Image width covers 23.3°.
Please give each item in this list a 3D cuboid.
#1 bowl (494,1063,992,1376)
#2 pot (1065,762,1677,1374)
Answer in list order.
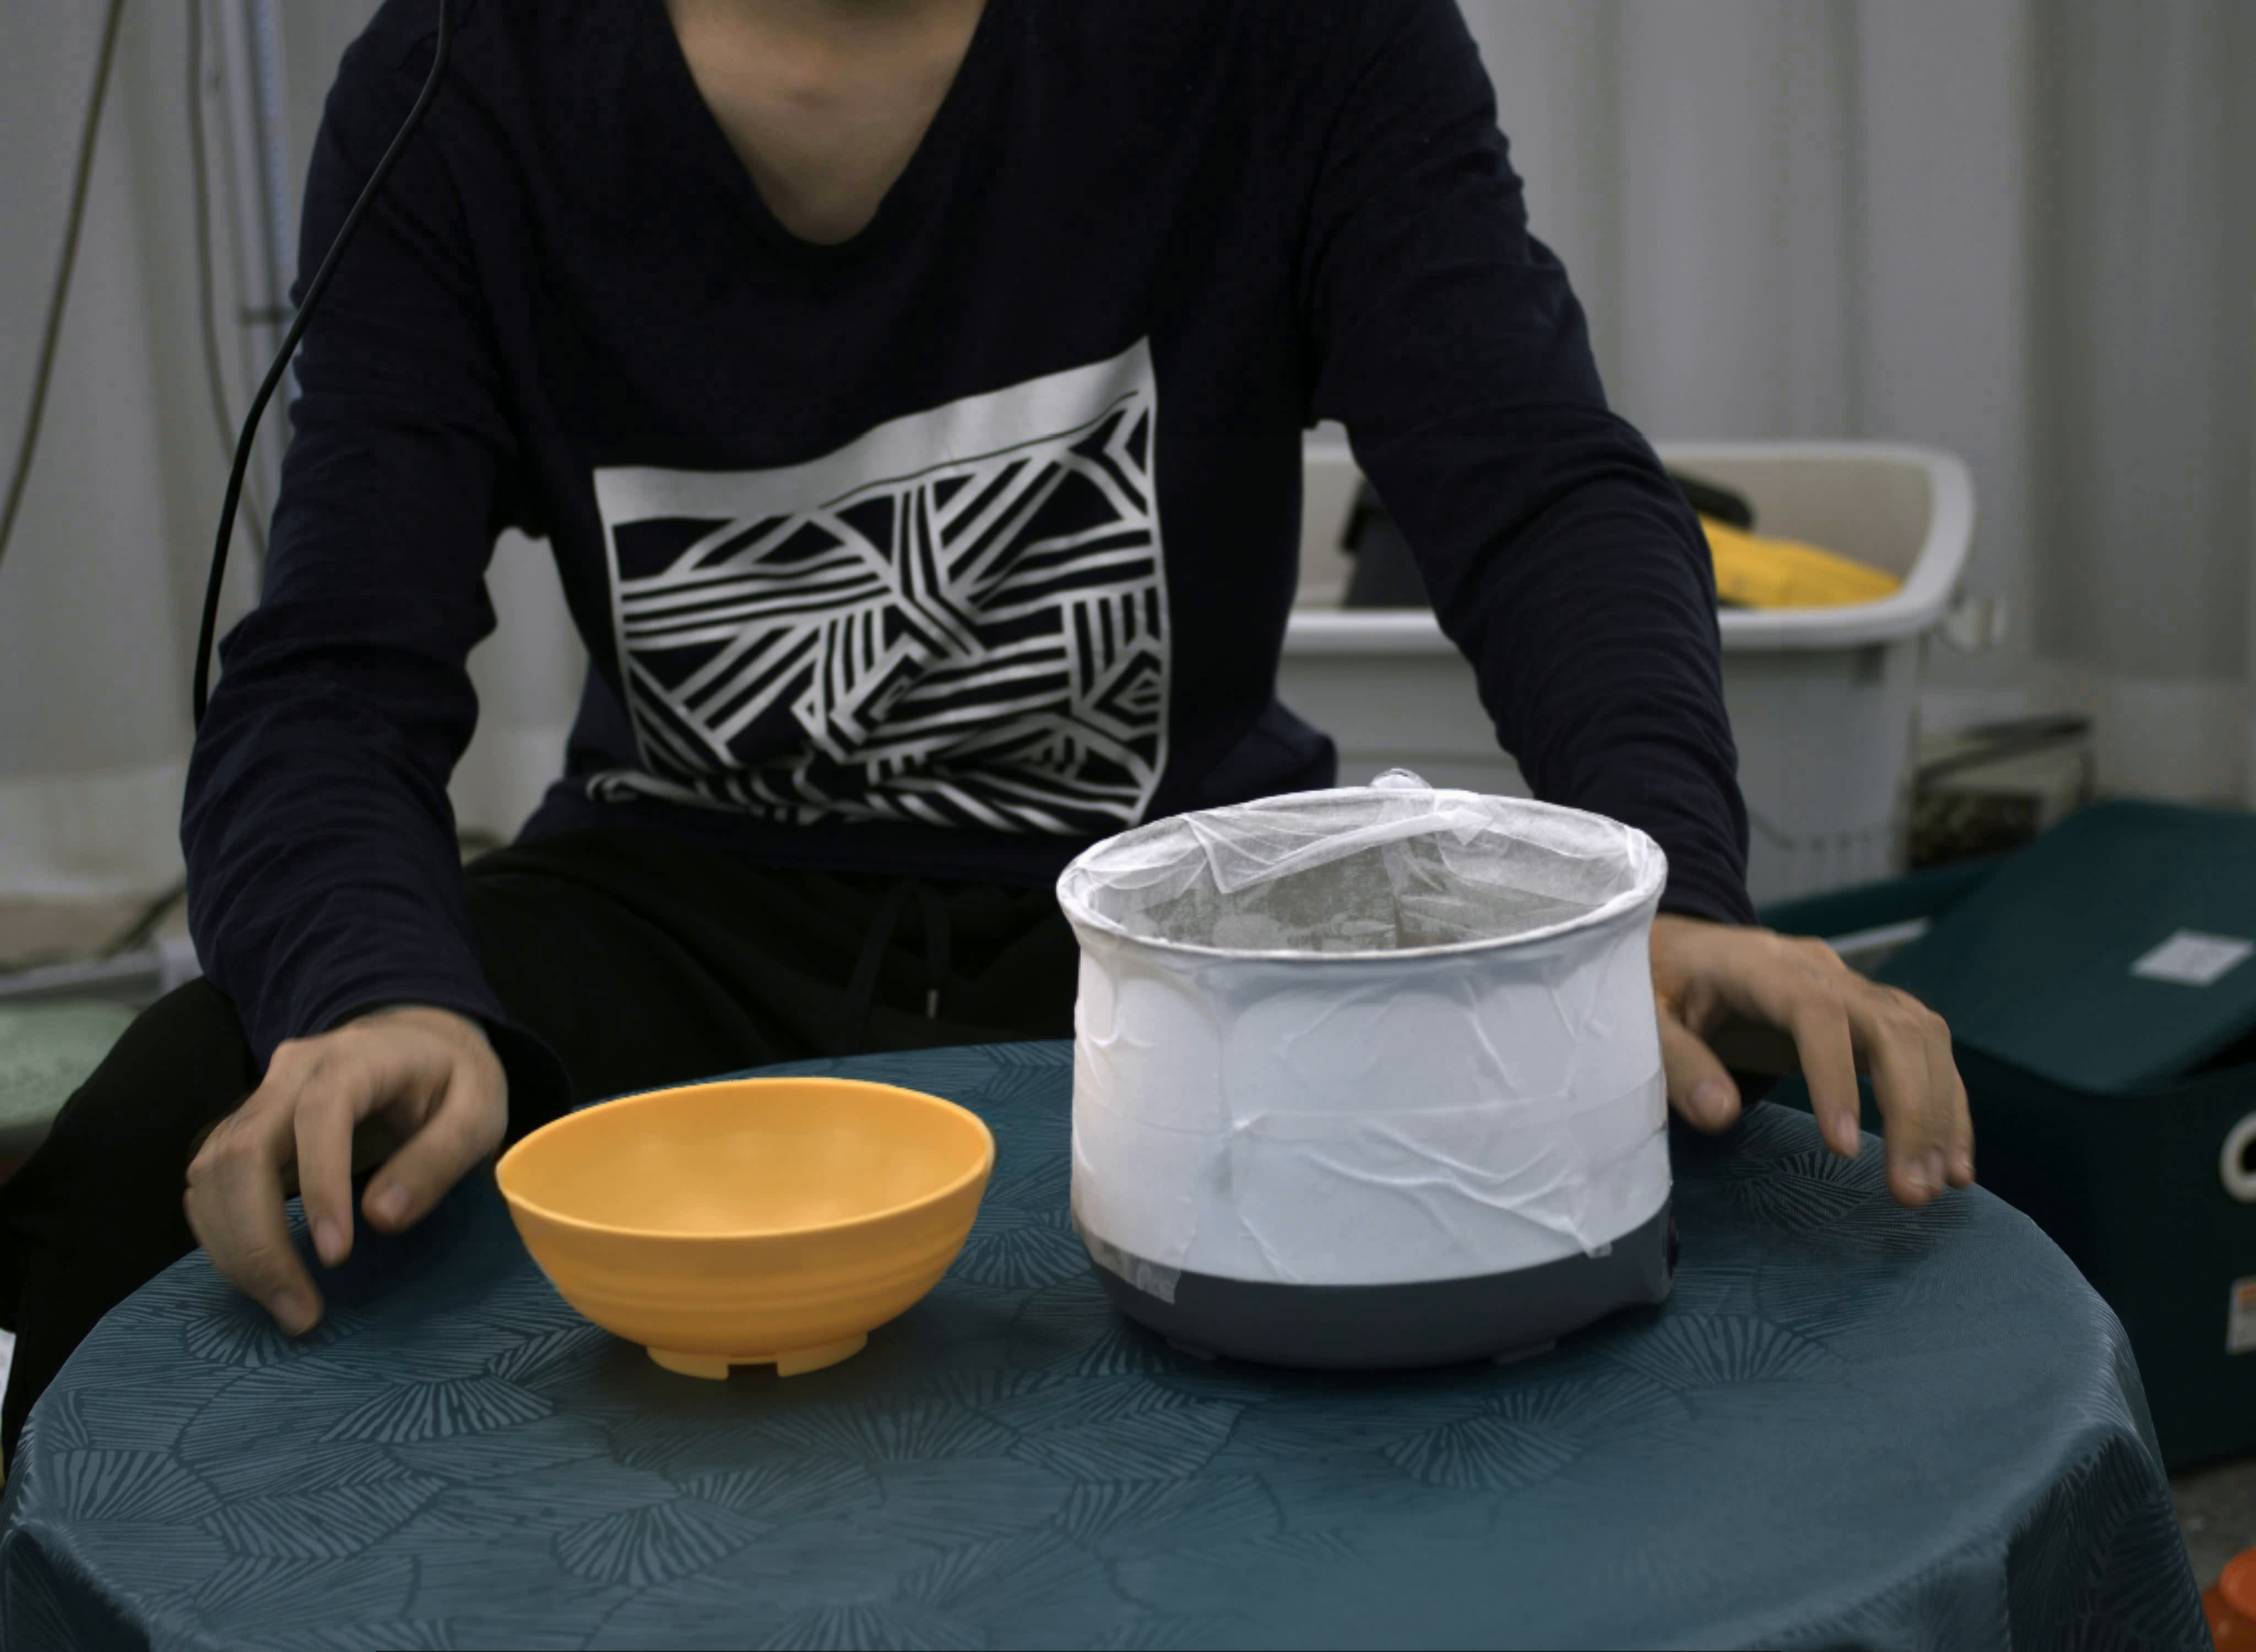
[{"bbox_3d":[-0.111,0.121,1.594,0.145,0.060,0.146,-2,16,0],"label":"bowl"},{"bbox_3d":[0.074,0.066,1.620,0.178,0.136,0.235,2,16,7],"label":"pot"}]
